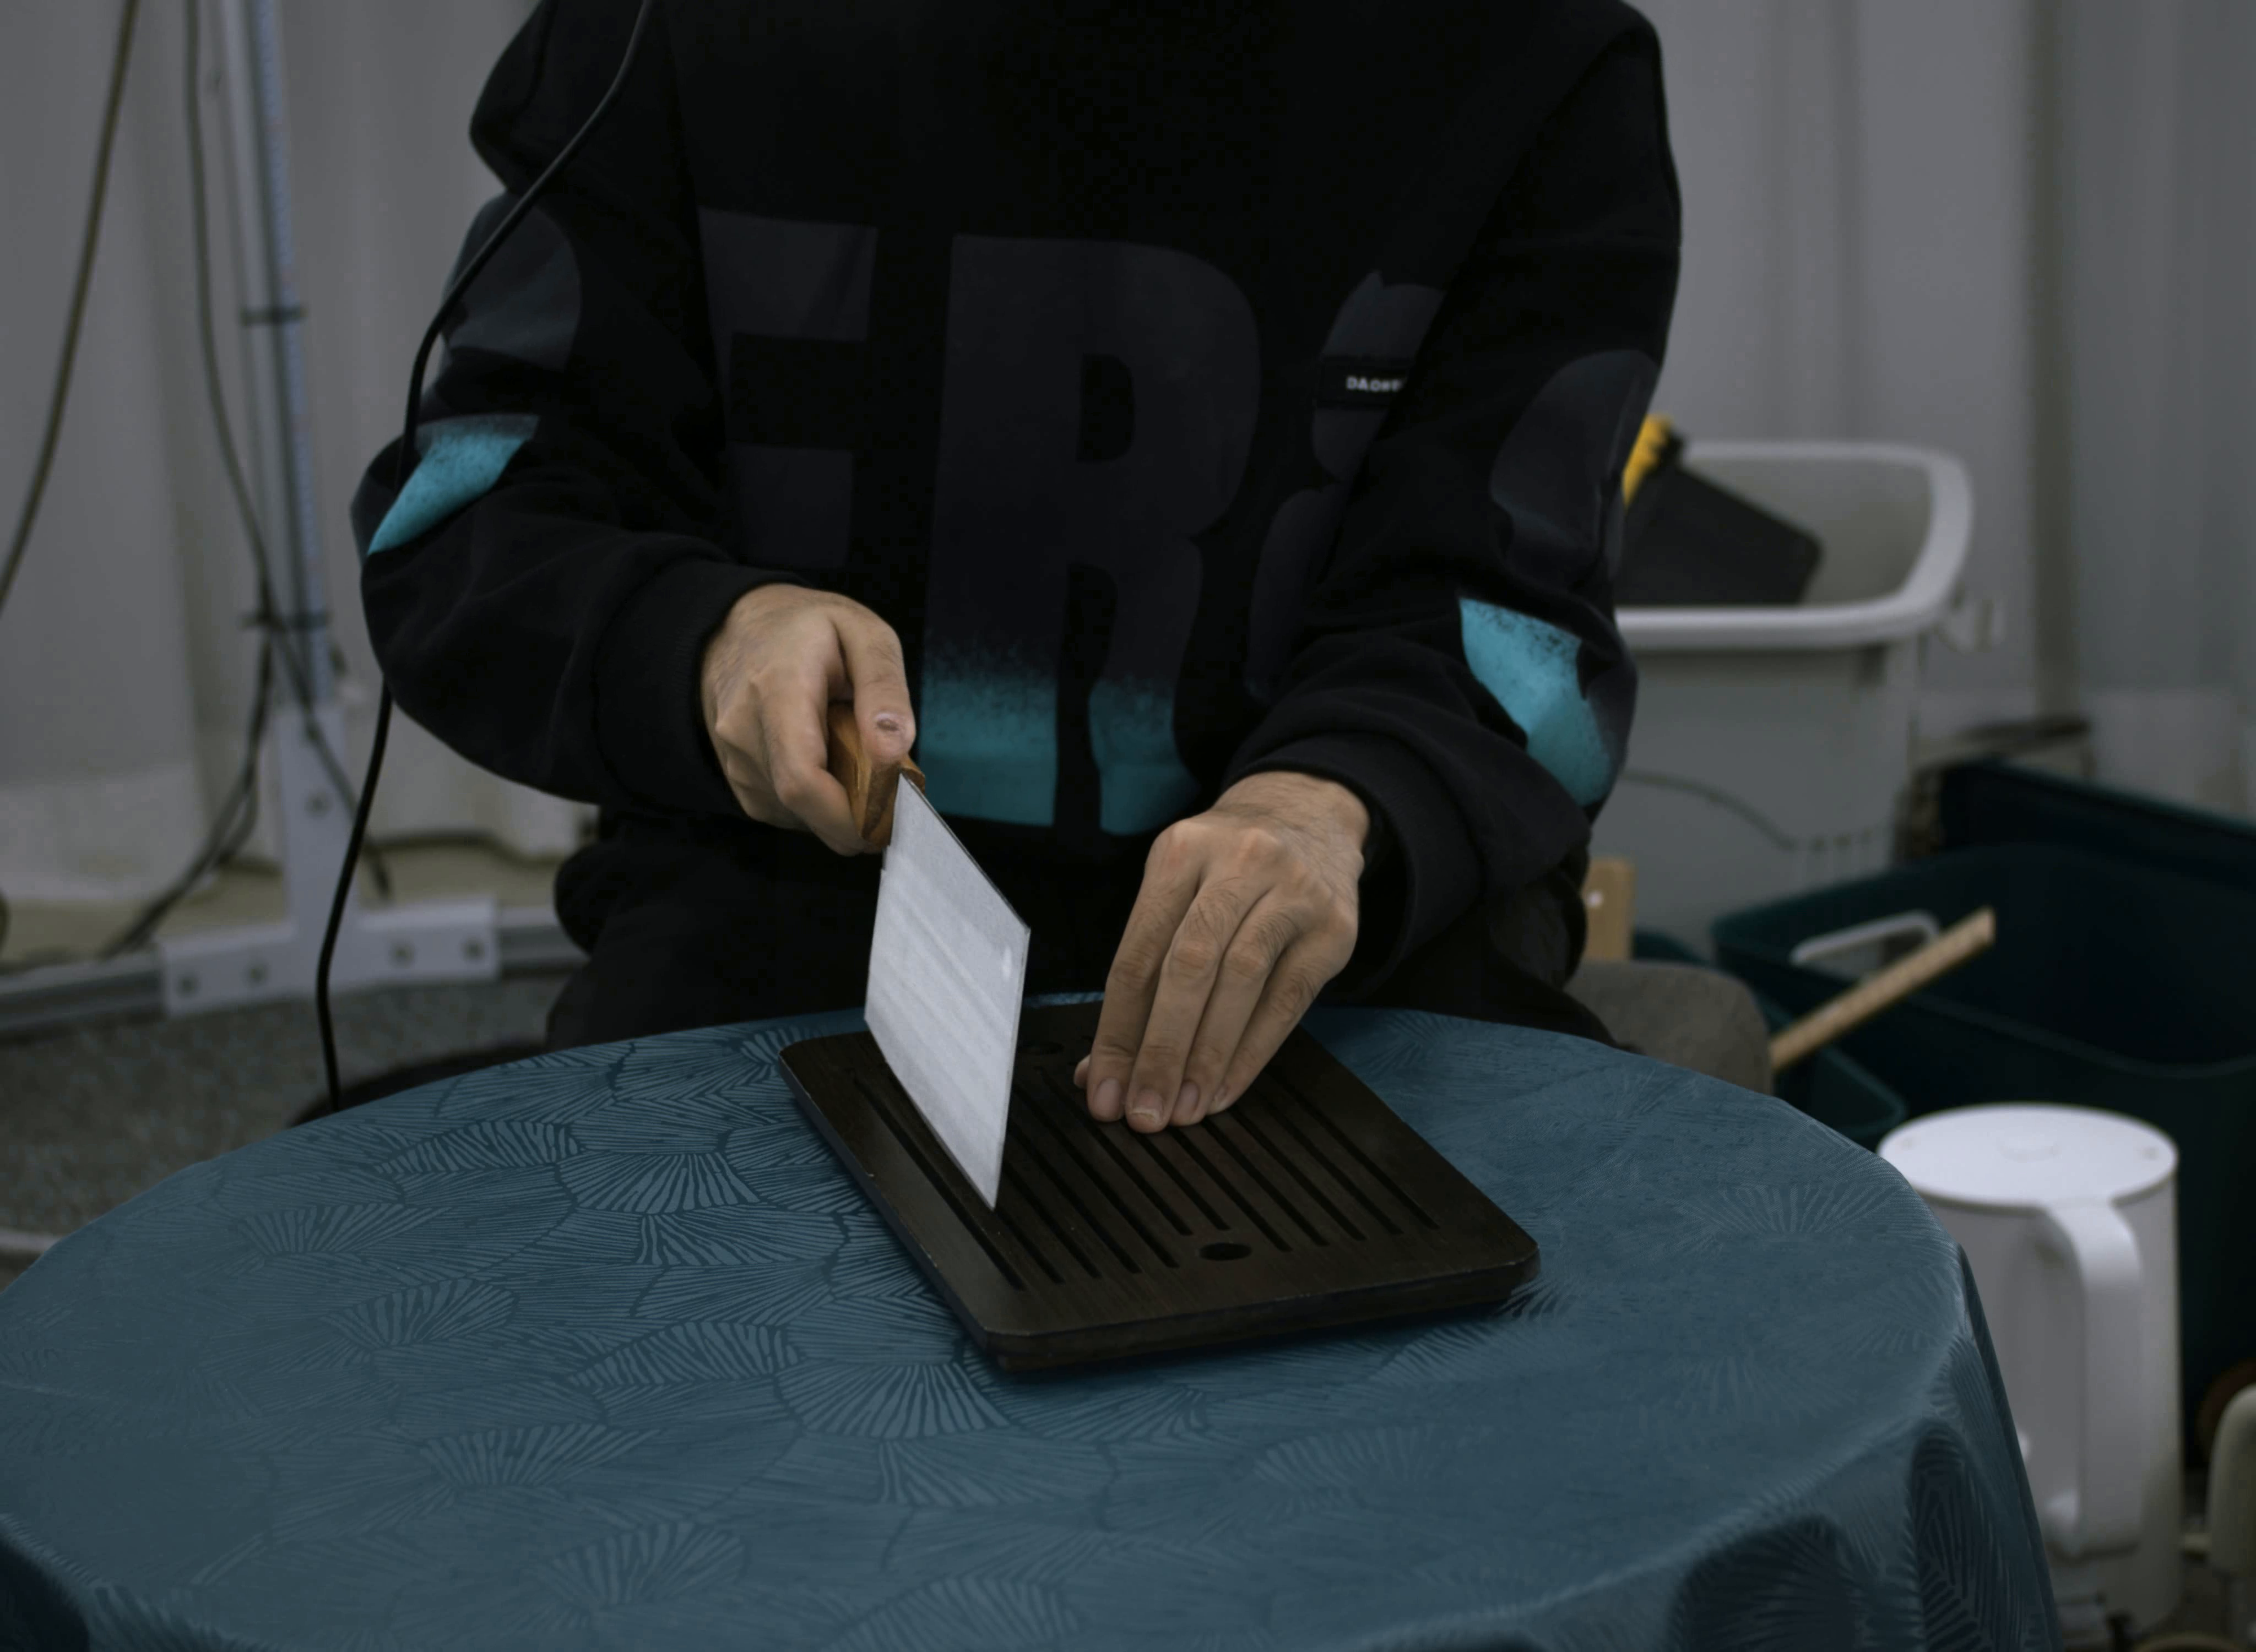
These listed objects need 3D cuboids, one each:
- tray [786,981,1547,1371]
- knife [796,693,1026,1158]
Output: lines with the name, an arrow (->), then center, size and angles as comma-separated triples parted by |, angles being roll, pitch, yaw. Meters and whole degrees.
tray -> 0.004, 0.106, 1.711 | 0.169, 0.018, 0.308 | -7, 16, -14
knife -> -0.071, 0.031, 1.766 | 0.021, 0.092, 0.308 | 2, 15, -15
